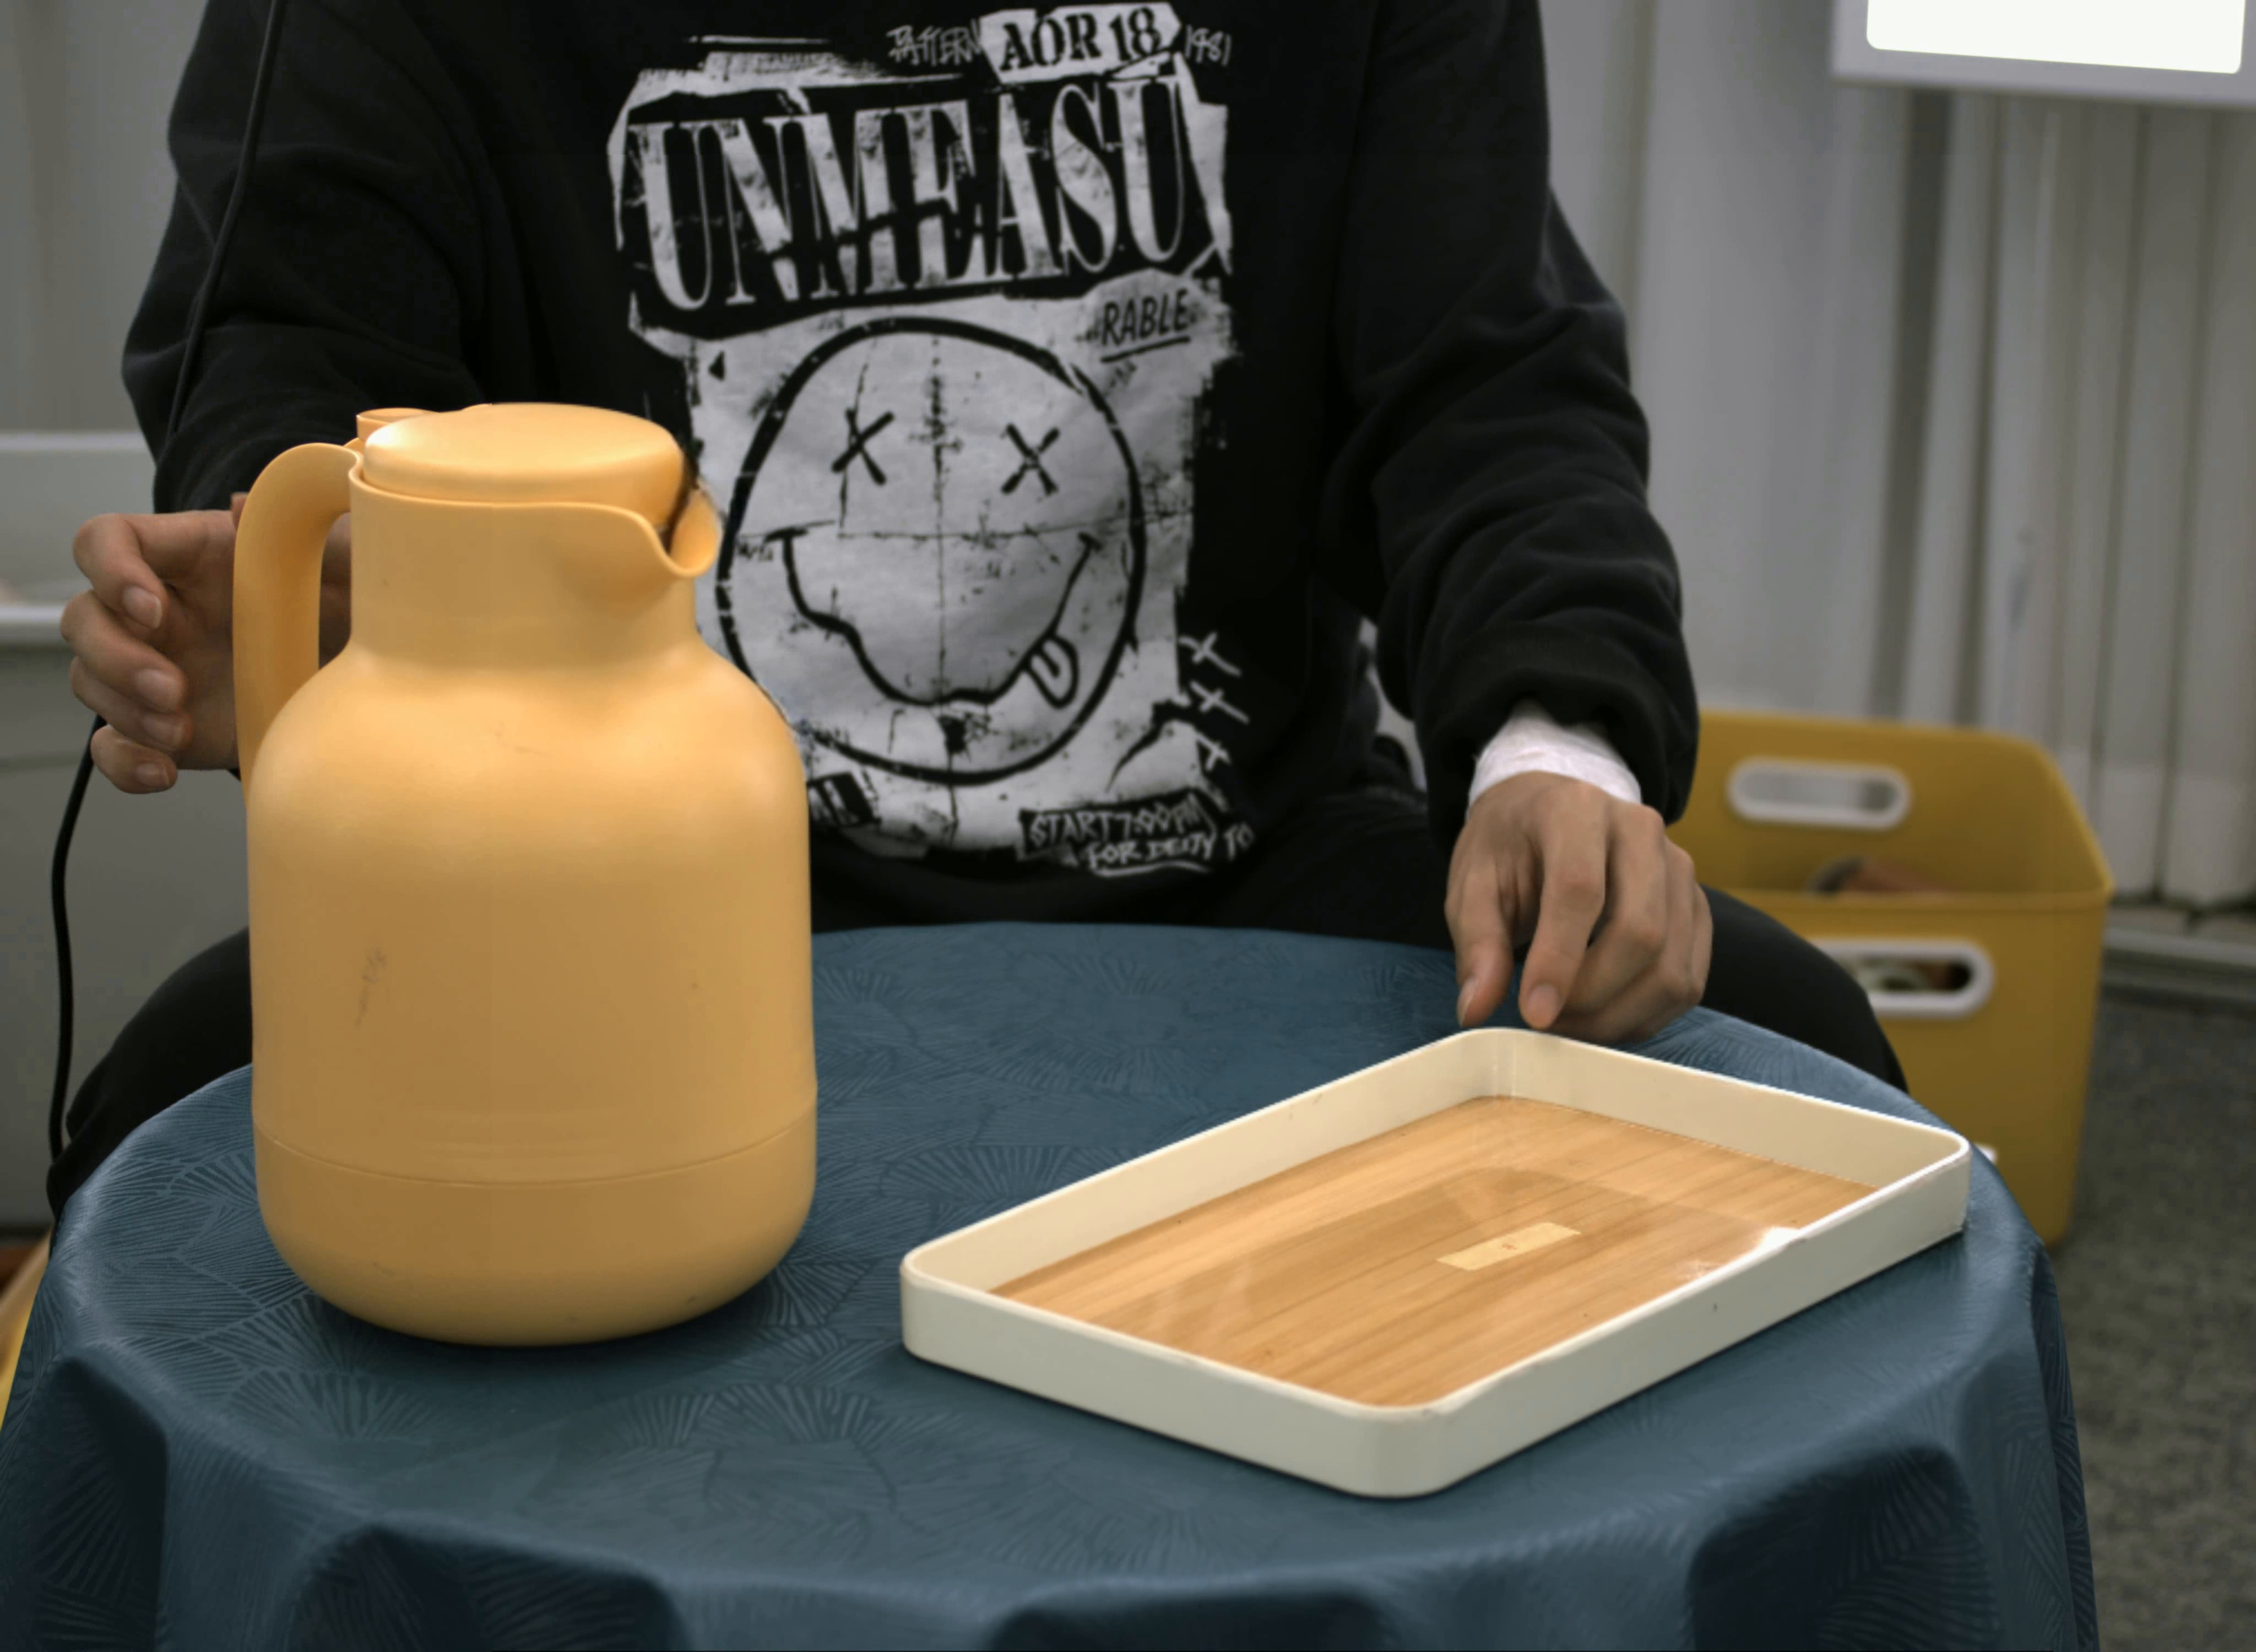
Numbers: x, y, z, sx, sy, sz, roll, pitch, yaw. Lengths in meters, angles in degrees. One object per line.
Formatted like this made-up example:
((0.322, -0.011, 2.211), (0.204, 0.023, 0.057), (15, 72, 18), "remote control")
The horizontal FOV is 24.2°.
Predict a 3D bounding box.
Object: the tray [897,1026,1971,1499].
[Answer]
((0.094, 0.122, 1.542), (0.189, 0.027, 0.301), (13, 20, 37), "tray")

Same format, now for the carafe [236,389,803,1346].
((-0.185, 0.003, 1.518), (0.164, 0.262, 0.199), (-12, 21, -42), "carafe")
